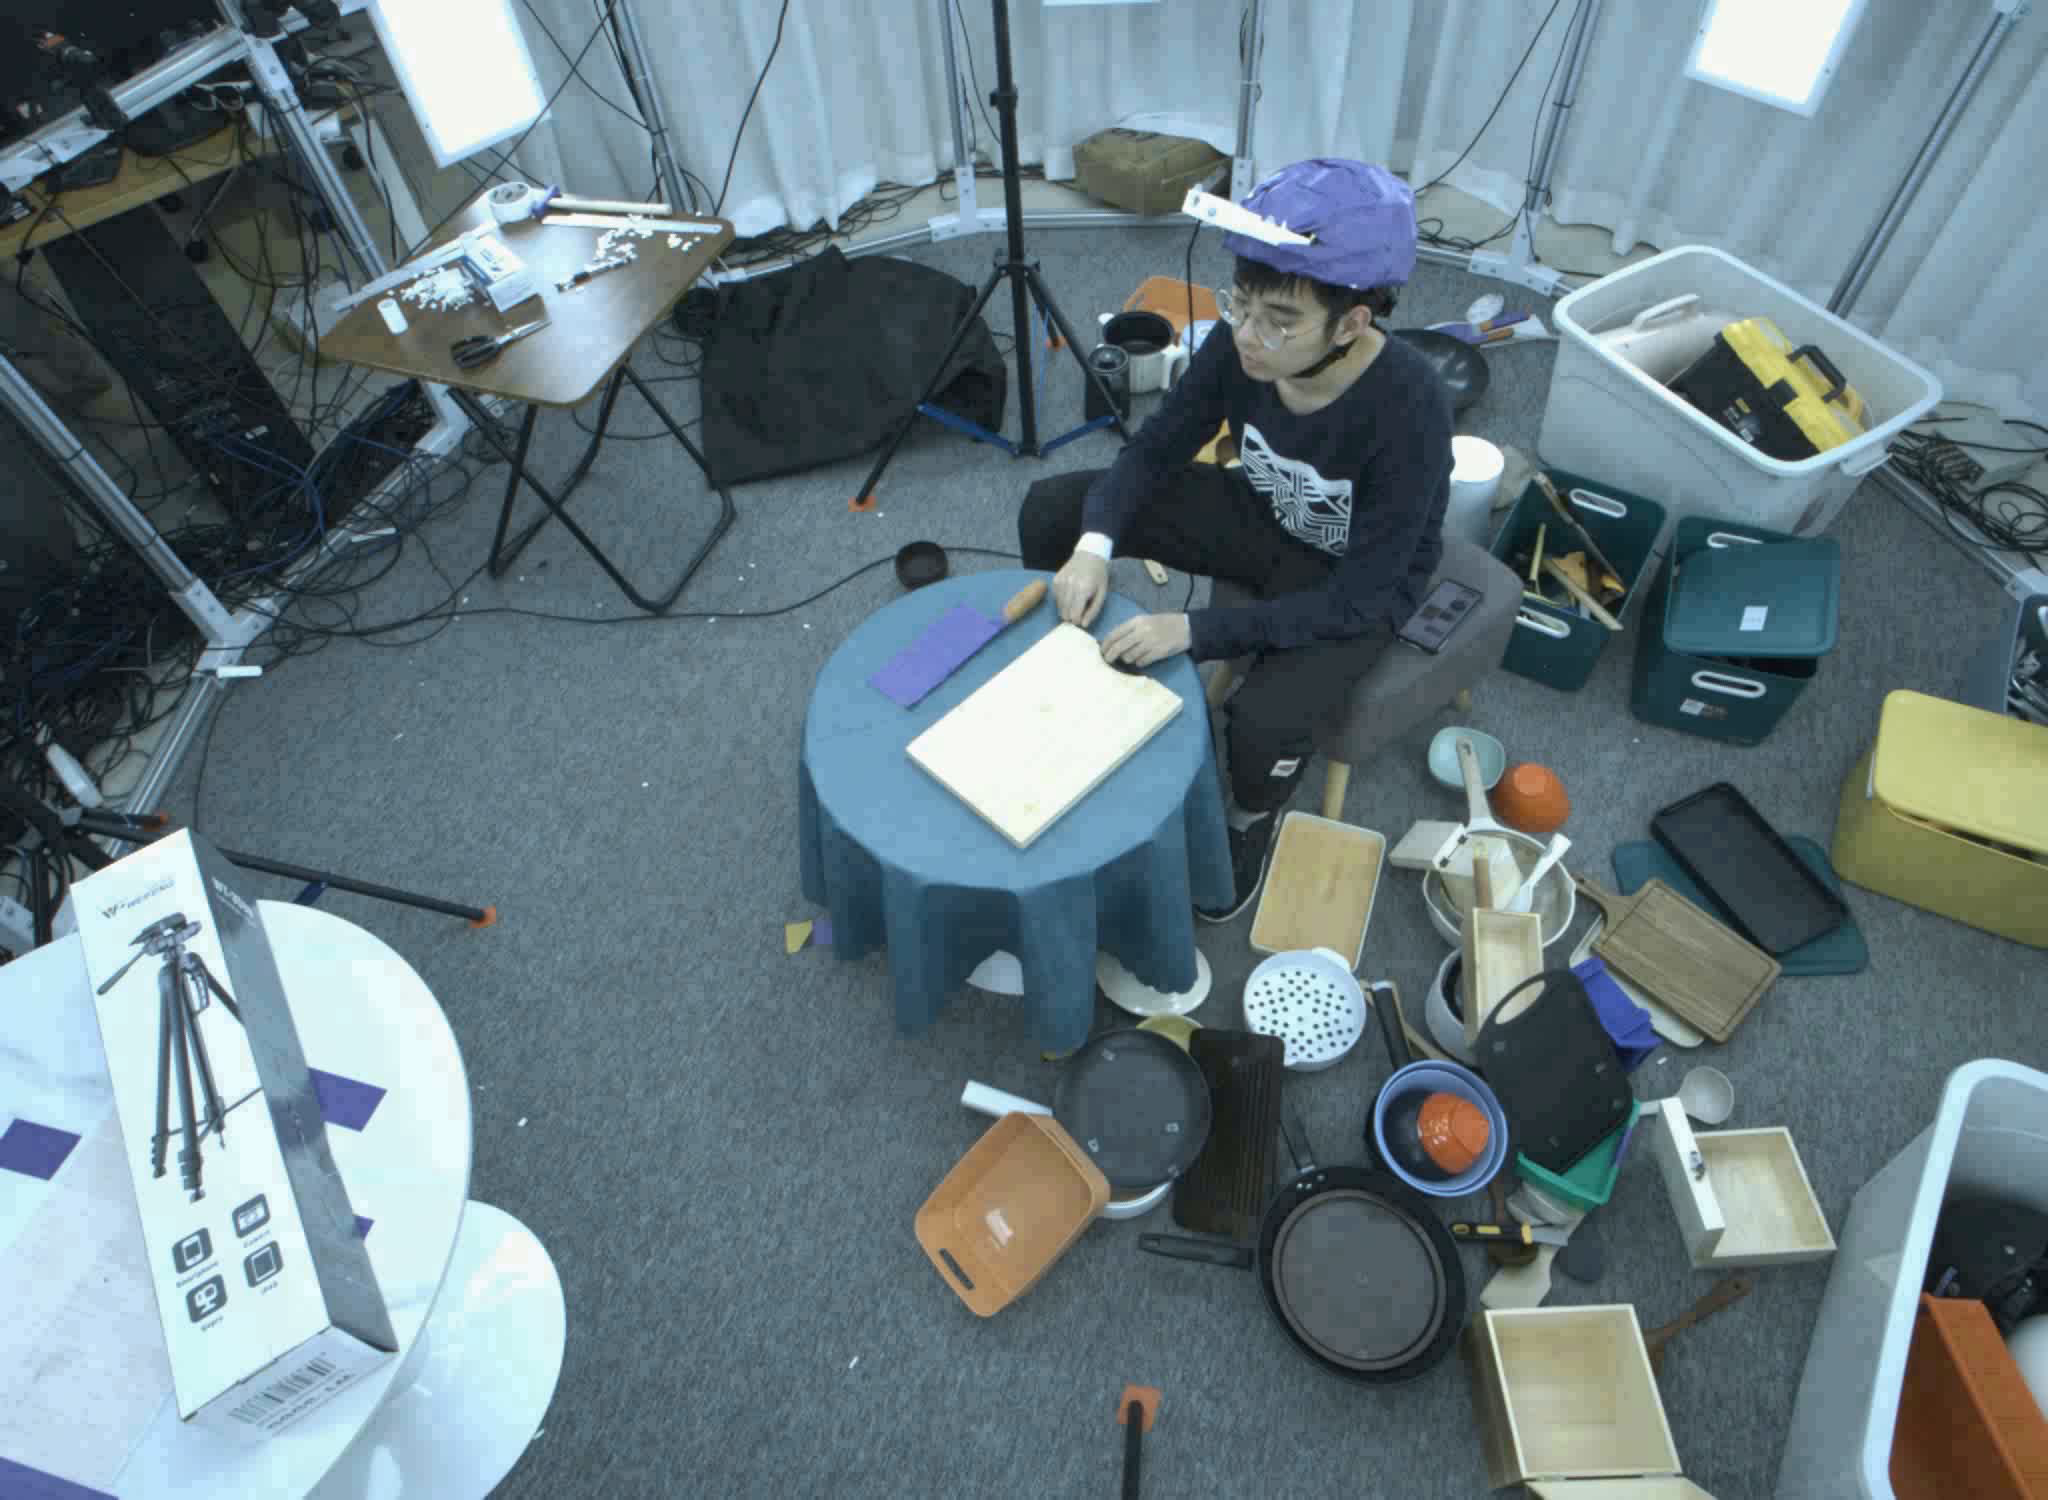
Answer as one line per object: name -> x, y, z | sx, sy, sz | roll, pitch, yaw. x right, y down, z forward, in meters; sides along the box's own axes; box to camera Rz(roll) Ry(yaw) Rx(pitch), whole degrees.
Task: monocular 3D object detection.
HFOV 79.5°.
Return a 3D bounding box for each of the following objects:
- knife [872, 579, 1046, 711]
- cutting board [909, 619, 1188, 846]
knife -> -0.103, -0.182, 1.911 | 0.102, 0.032, 0.317 | 36, 63, 24
cutting board -> 0.036, -0.036, 1.810 | 0.246, 0.024, 0.351 | 38, 63, 24
